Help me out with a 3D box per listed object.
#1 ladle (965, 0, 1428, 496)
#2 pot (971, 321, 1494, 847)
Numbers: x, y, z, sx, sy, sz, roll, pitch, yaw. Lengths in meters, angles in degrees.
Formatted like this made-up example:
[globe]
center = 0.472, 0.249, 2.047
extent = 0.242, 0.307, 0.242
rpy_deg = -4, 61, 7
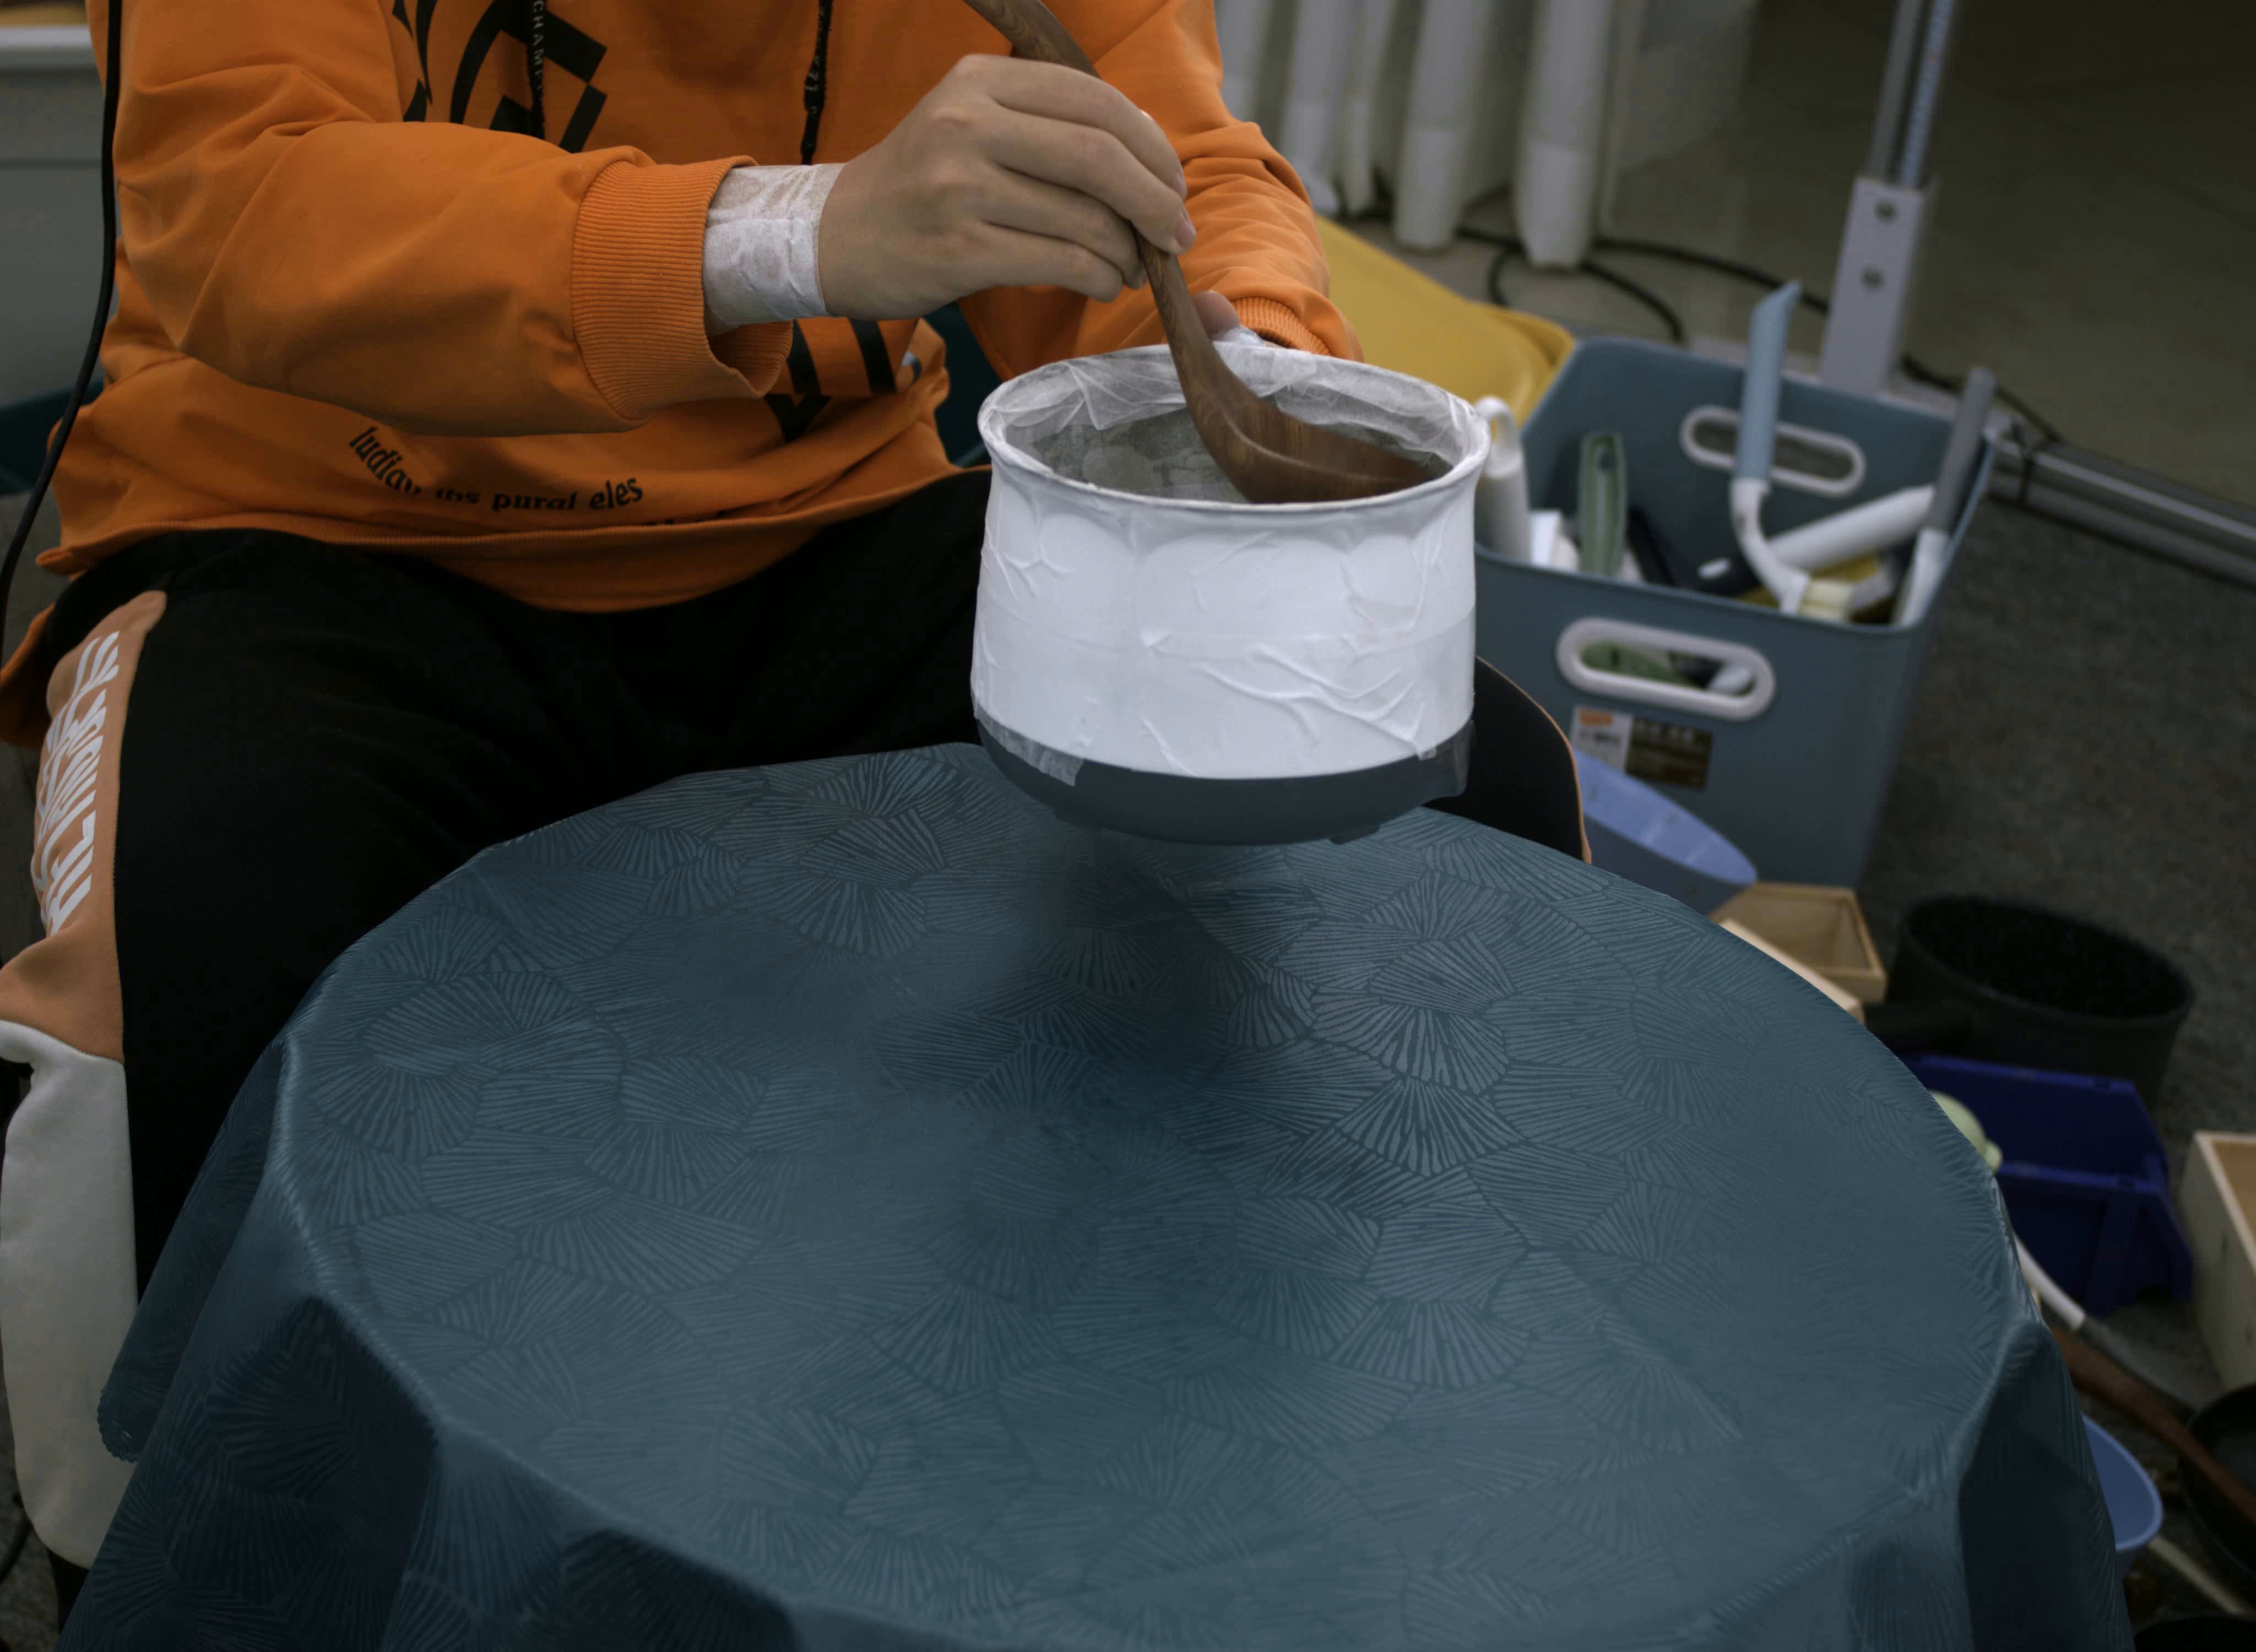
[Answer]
[ladle]
center = 0.019, -0.211, 1.868
extent = 0.261, 0.065, 0.076
rpy_deg = 61, 23, 9
[pot]
center = 0.034, -0.090, 1.872
extent = 0.178, 0.136, 0.235
rpy_deg = 3, 23, 0
